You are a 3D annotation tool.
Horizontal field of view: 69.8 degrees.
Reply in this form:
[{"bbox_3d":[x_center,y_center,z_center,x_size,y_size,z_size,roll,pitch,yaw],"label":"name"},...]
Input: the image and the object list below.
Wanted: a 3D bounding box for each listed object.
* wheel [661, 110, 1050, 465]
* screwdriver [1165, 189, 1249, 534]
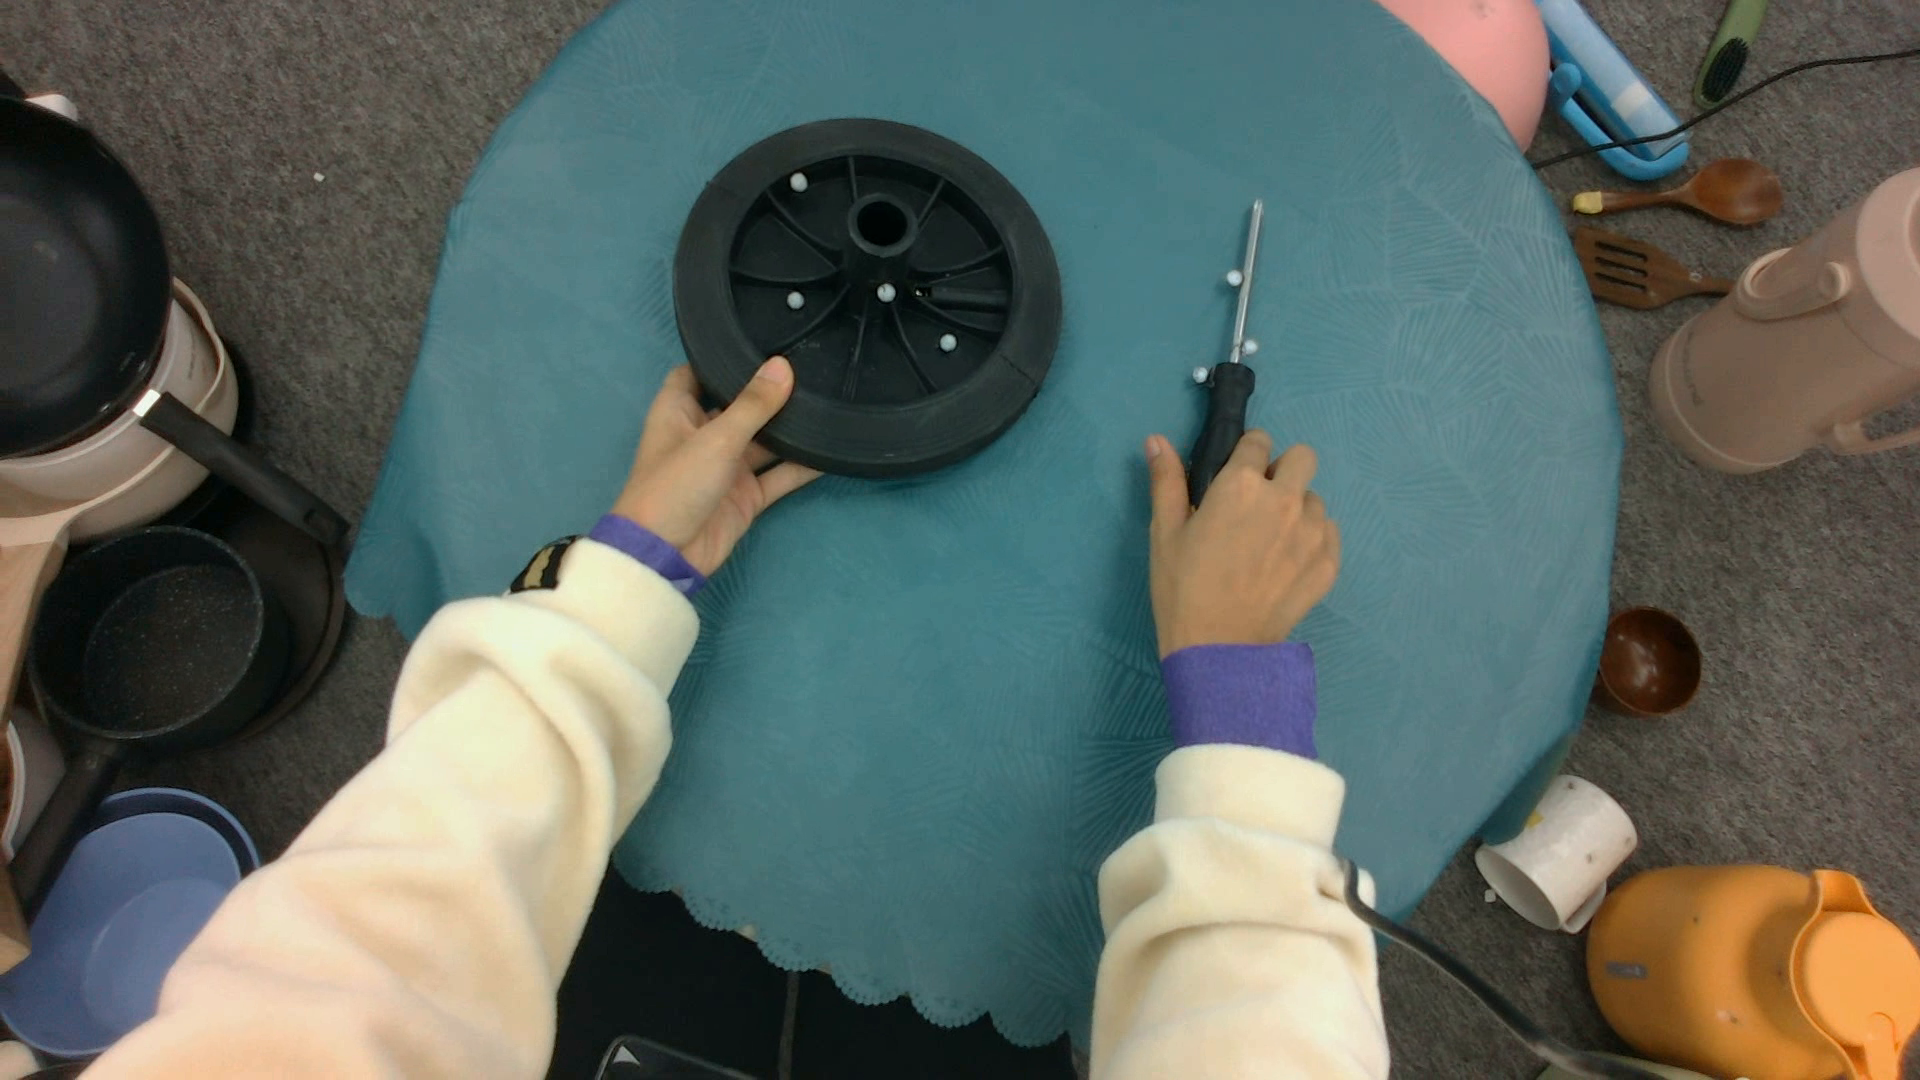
[{"bbox_3d":[-0.045,-0.133,0.652,0.190,0.079,0.187,-19,75,-18],"label":"wheel"},{"bbox_3d":[0.126,-0.096,0.687,0.031,0.031,0.197,11,71,-2],"label":"screwdriver"}]
